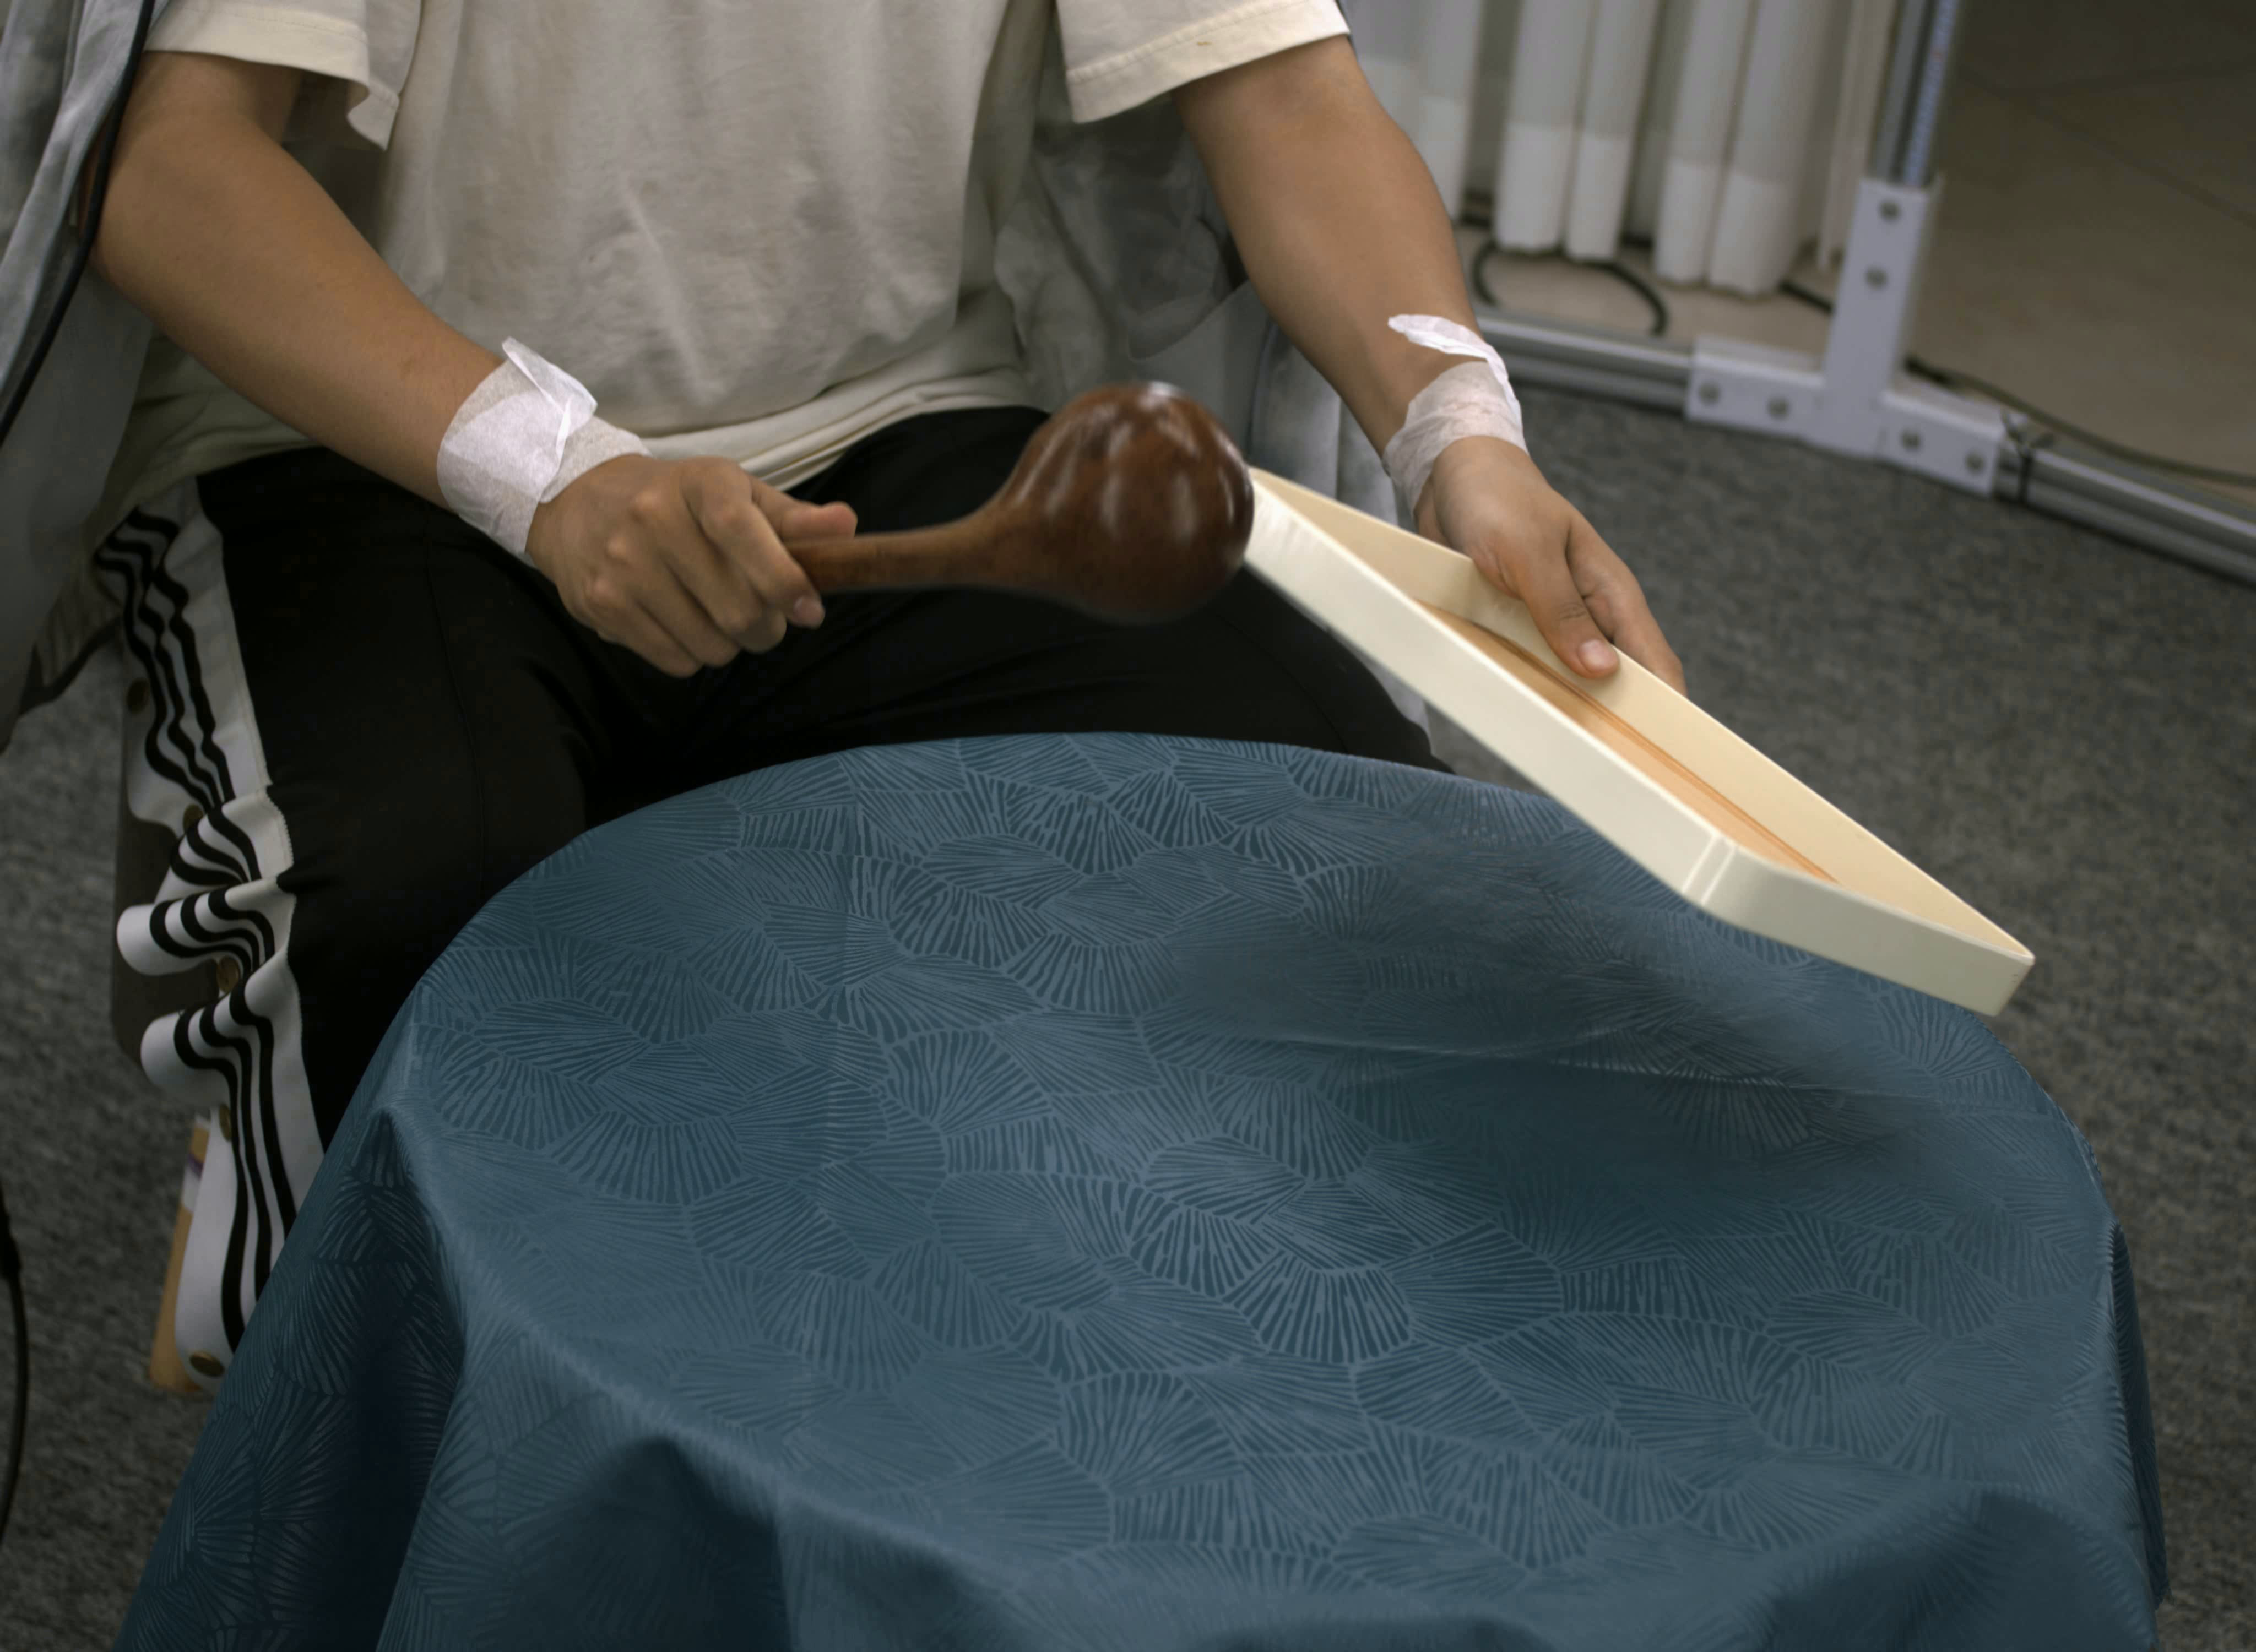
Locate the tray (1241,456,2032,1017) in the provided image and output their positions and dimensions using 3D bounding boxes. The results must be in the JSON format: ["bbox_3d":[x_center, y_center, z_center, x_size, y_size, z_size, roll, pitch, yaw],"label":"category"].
[{"bbox_3d":[0.171,-0.033,1.895,0.190,0.027,0.303,20,15,-46],"label":"tray"}]

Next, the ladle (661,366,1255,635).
[{"bbox_3d":[-0.062,-0.105,1.860,0.076,0.082,0.275,-23,10,-36],"label":"ladle"}]
